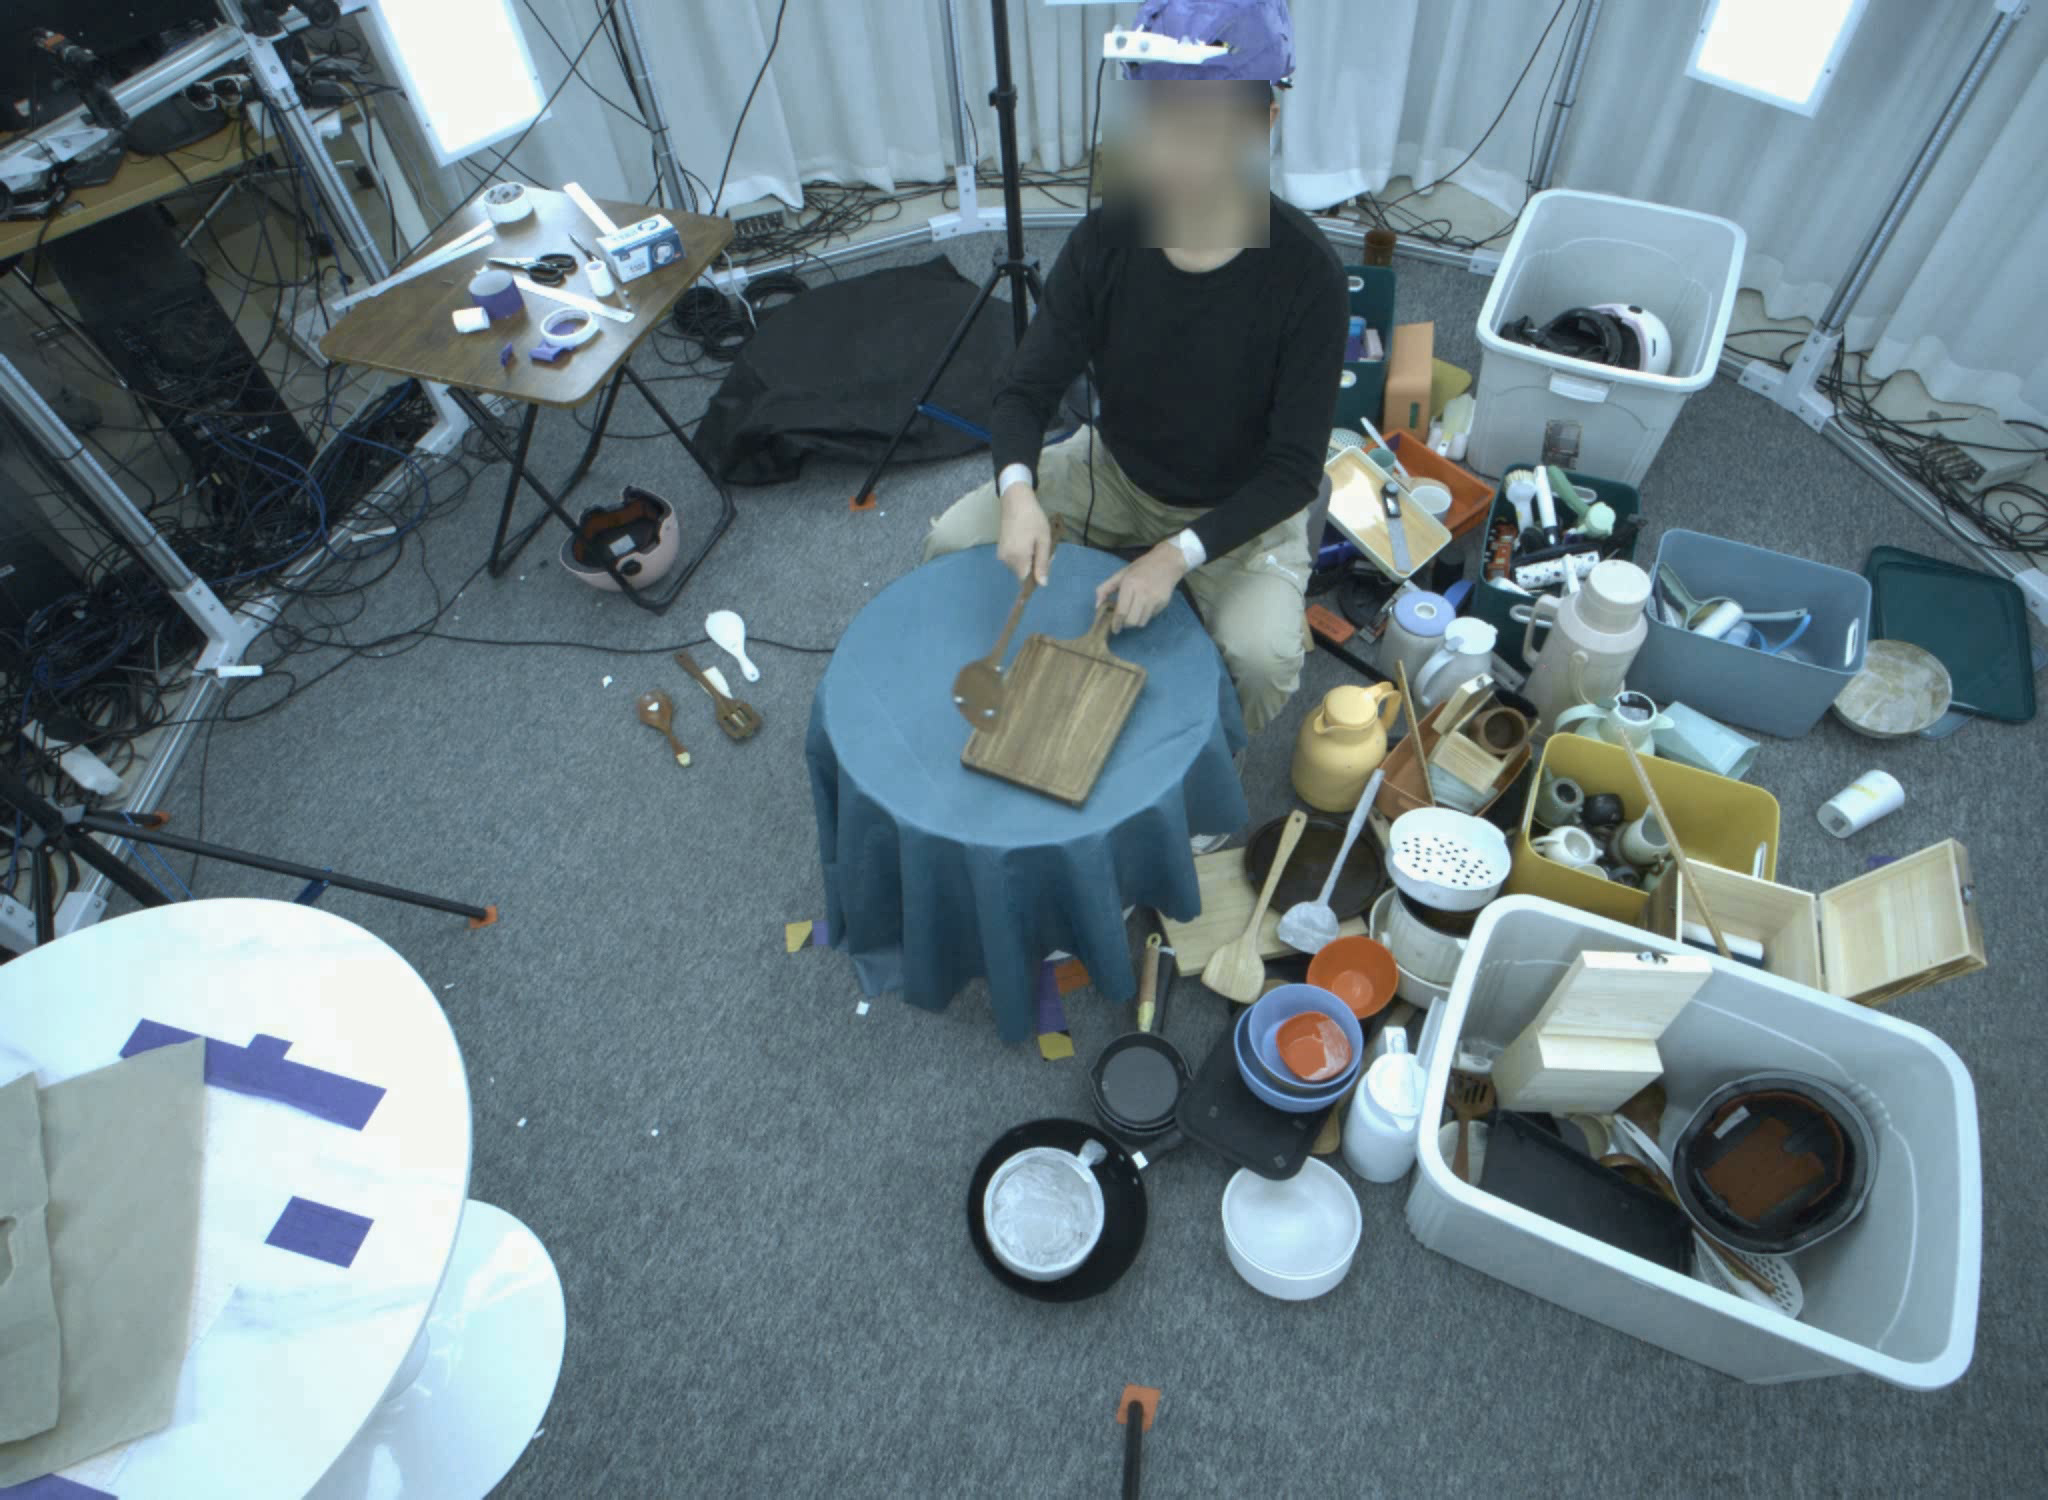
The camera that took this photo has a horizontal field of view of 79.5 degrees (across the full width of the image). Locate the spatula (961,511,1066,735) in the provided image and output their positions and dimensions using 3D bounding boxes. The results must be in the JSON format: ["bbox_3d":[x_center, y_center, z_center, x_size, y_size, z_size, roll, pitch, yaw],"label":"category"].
[{"bbox_3d":[-0.004,-0.195,1.751,0.015,0.098,0.385,-9,52,45],"label":"spatula"}]

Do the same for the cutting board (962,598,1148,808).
[{"bbox_3d":[0.067,-0.088,1.819,0.199,0.023,0.352,20,62,15],"label":"cutting board"}]
